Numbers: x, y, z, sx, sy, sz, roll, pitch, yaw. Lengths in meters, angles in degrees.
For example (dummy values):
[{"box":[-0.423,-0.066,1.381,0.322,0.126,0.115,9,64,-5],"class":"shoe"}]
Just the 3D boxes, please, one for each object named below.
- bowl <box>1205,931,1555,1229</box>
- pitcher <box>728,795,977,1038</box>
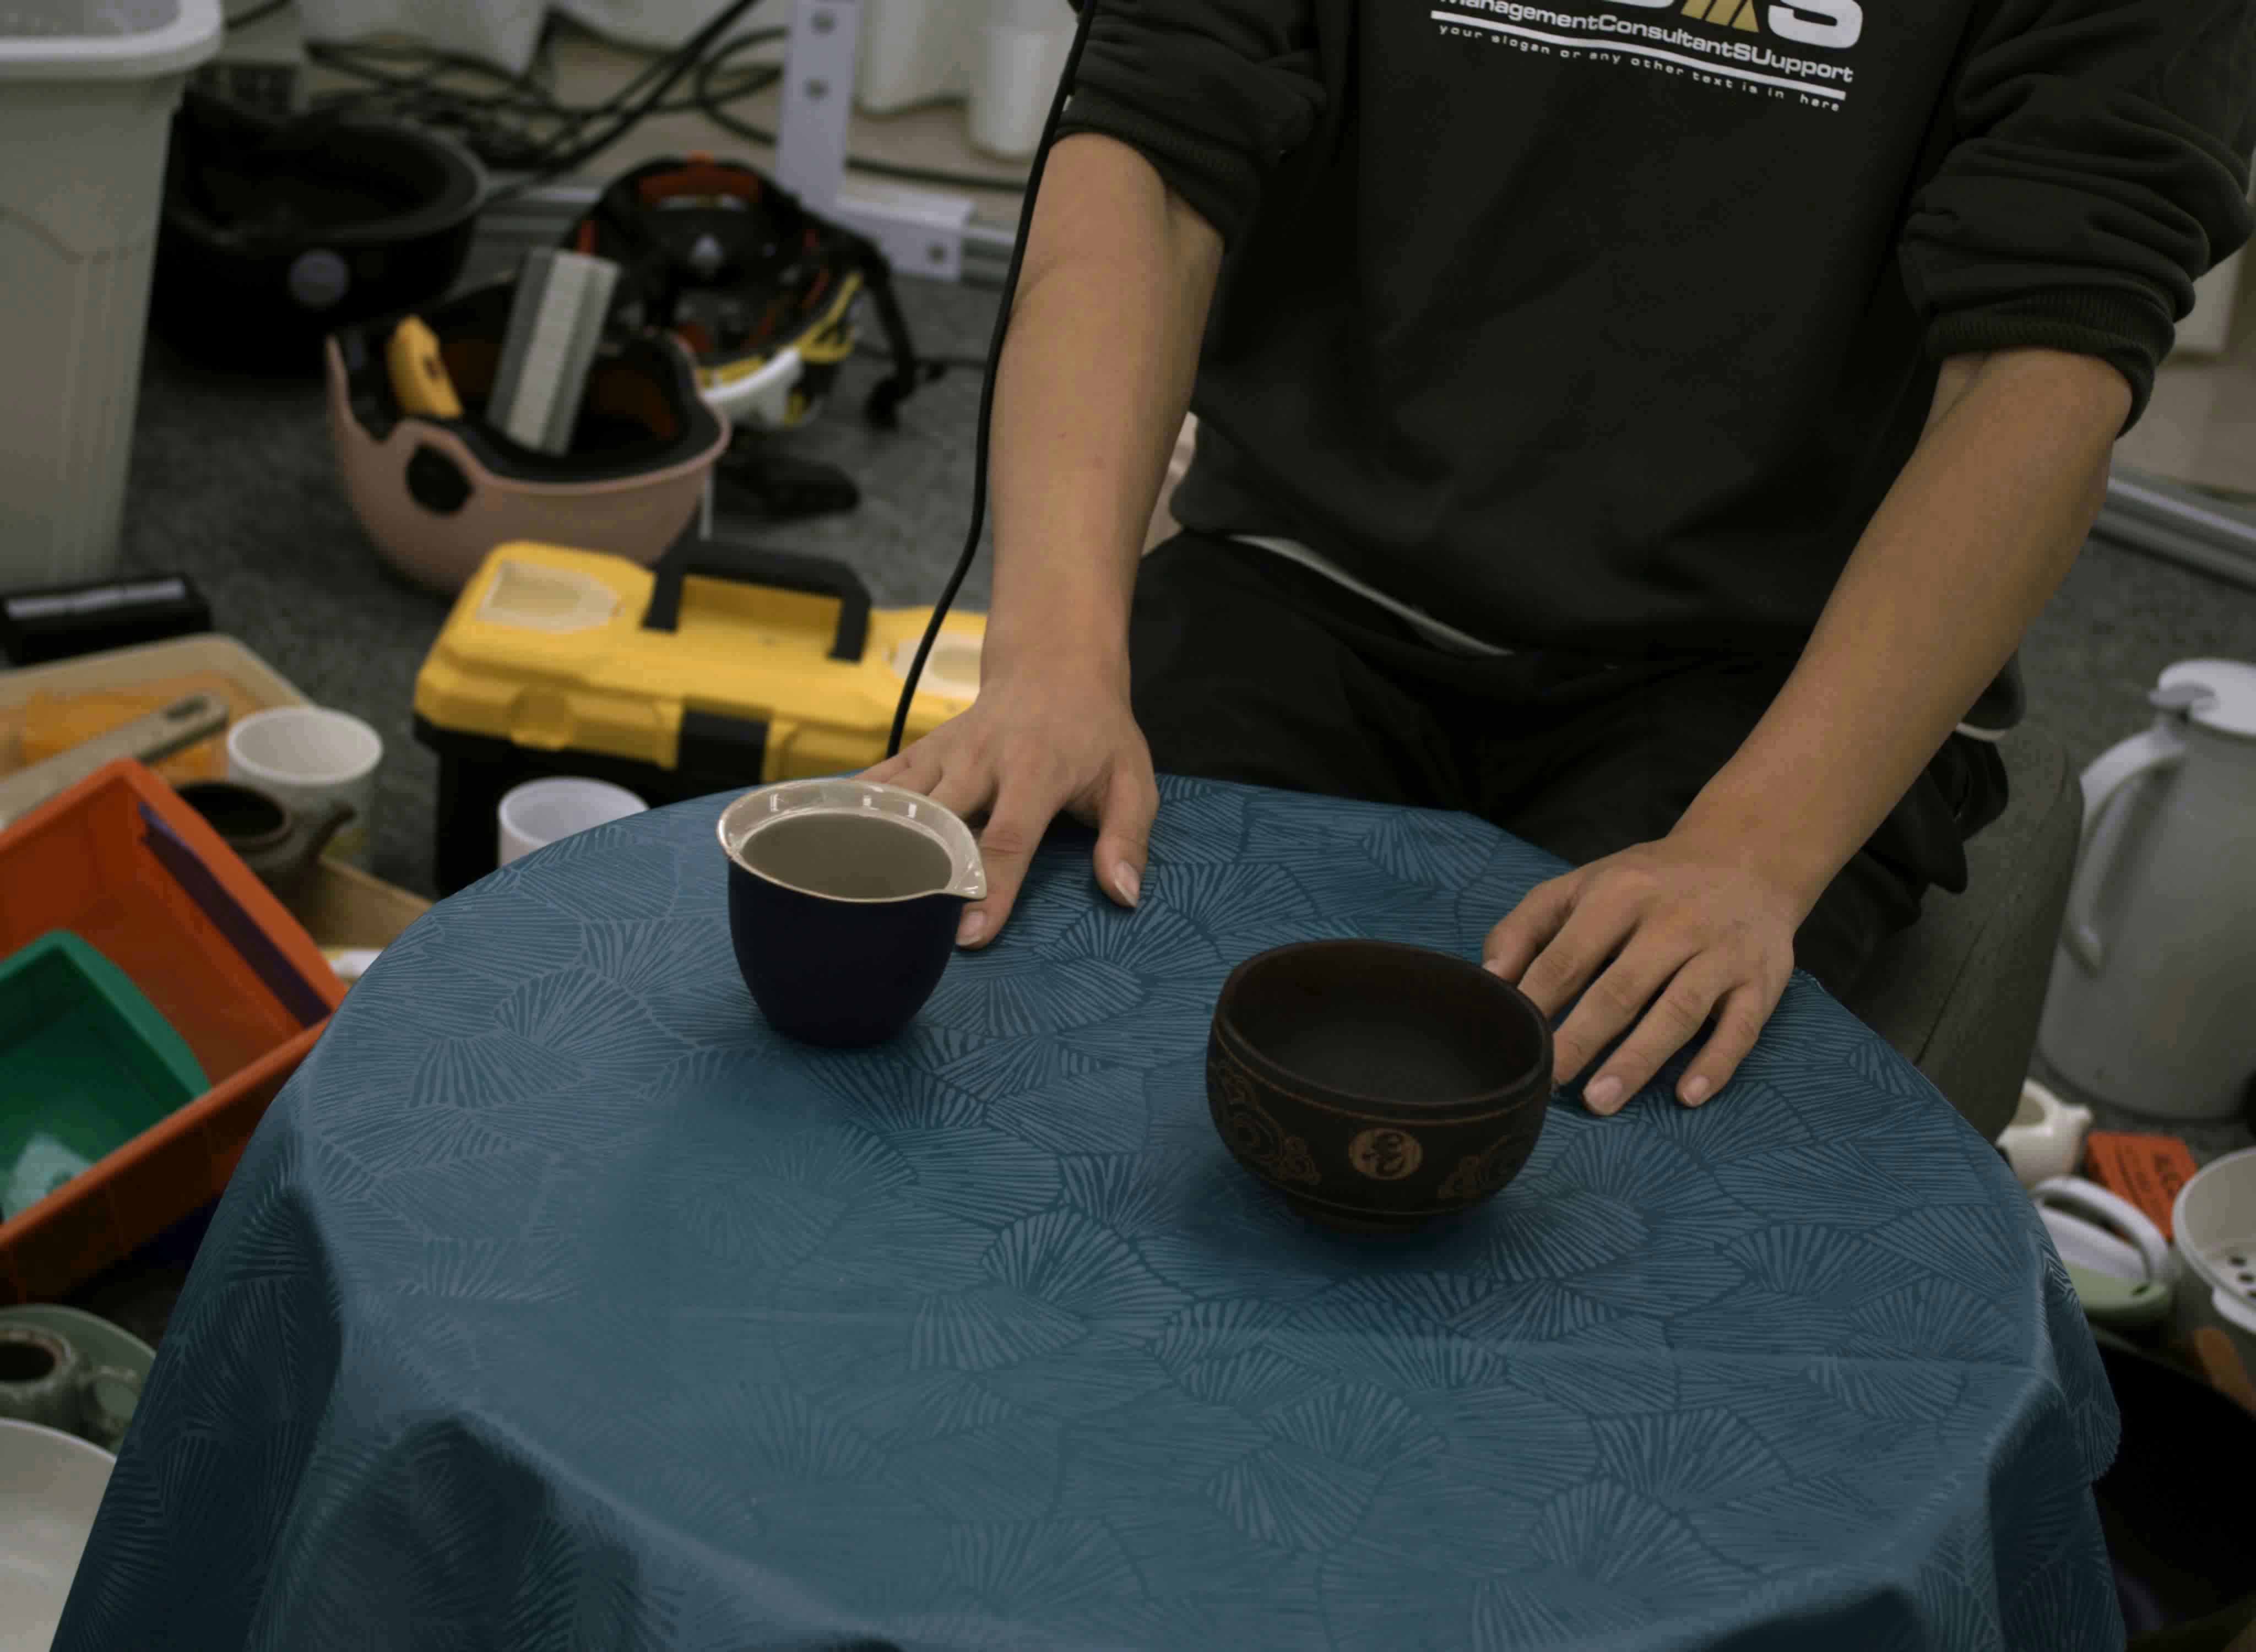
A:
[{"box":[0.083,0.093,1.807,0.117,0.069,0.119,4,28,-3],"class":"bowl"},{"box":[-0.097,0.034,1.877,0.096,0.071,0.083,22,29,29],"class":"pitcher"}]
